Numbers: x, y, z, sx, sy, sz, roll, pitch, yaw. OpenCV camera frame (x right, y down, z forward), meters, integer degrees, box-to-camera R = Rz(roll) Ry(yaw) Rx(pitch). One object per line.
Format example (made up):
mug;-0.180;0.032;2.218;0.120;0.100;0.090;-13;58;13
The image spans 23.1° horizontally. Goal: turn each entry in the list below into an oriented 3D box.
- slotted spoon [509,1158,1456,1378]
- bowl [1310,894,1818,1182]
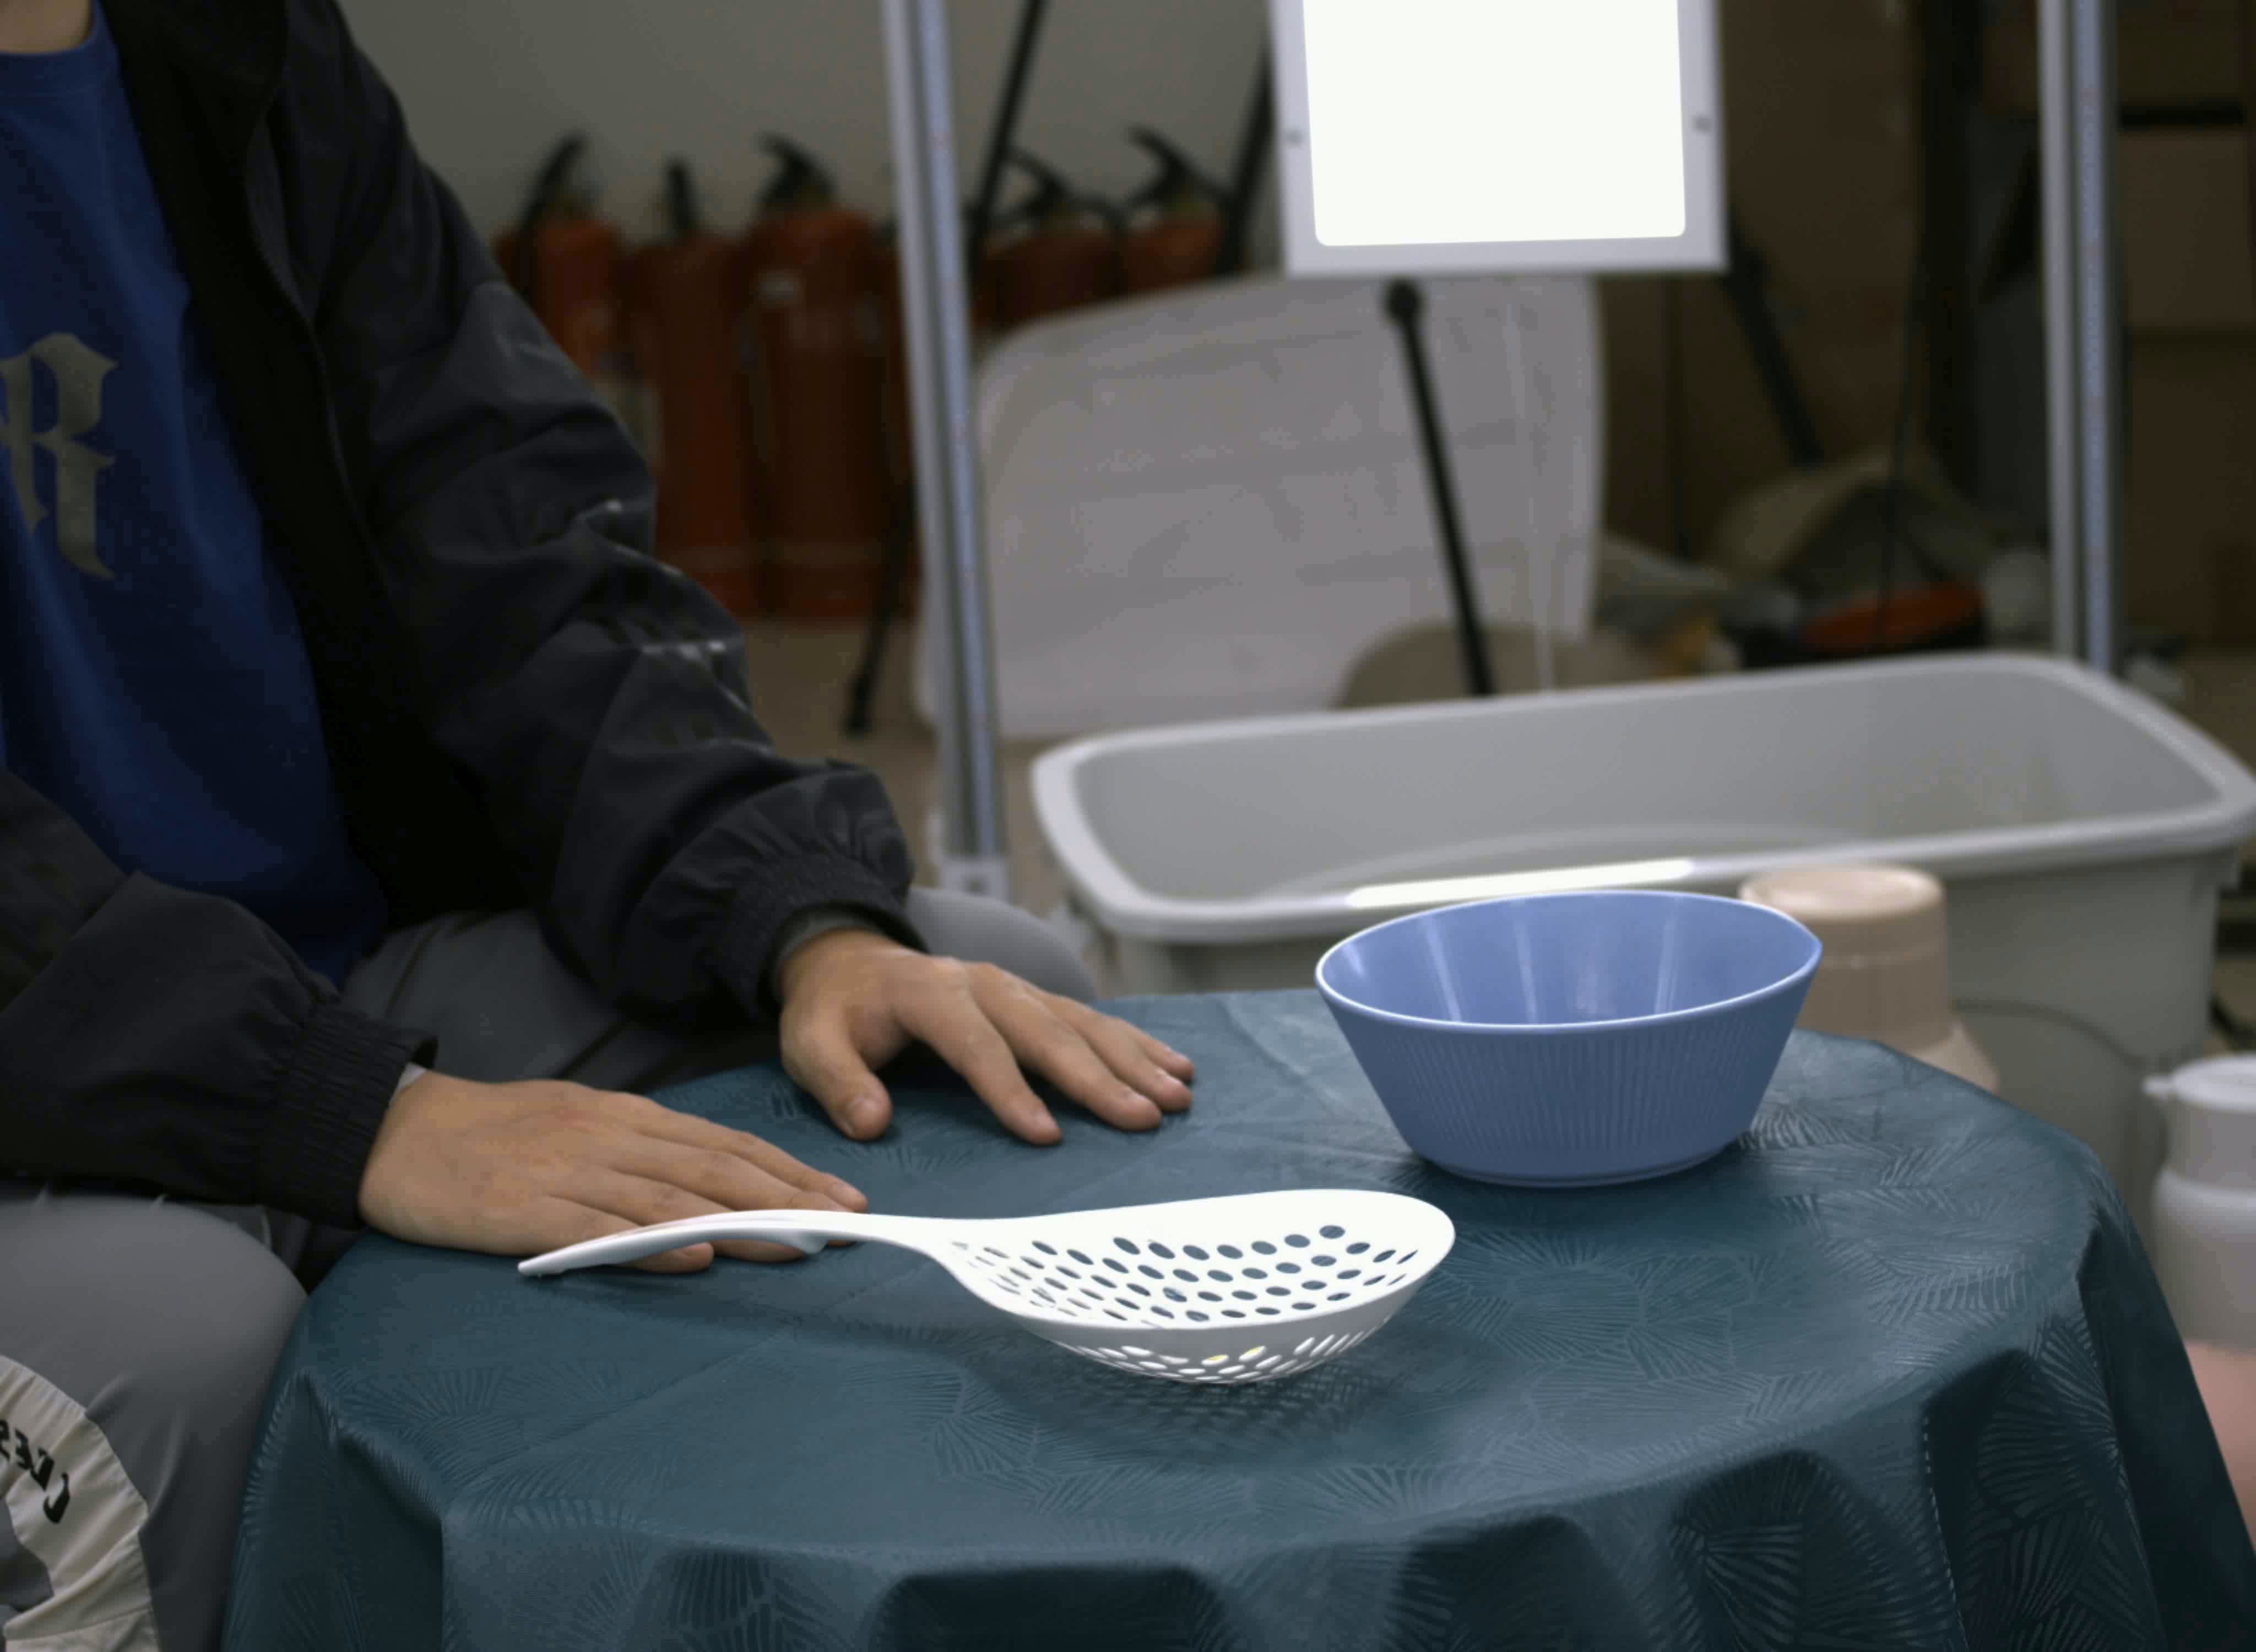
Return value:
slotted spoon;-0.057;0.141;1.767;0.355;0.050;0.133;3;20;33
bowl;0.153;0.075;1.900;0.175;0.070;0.176;-5;13;0
